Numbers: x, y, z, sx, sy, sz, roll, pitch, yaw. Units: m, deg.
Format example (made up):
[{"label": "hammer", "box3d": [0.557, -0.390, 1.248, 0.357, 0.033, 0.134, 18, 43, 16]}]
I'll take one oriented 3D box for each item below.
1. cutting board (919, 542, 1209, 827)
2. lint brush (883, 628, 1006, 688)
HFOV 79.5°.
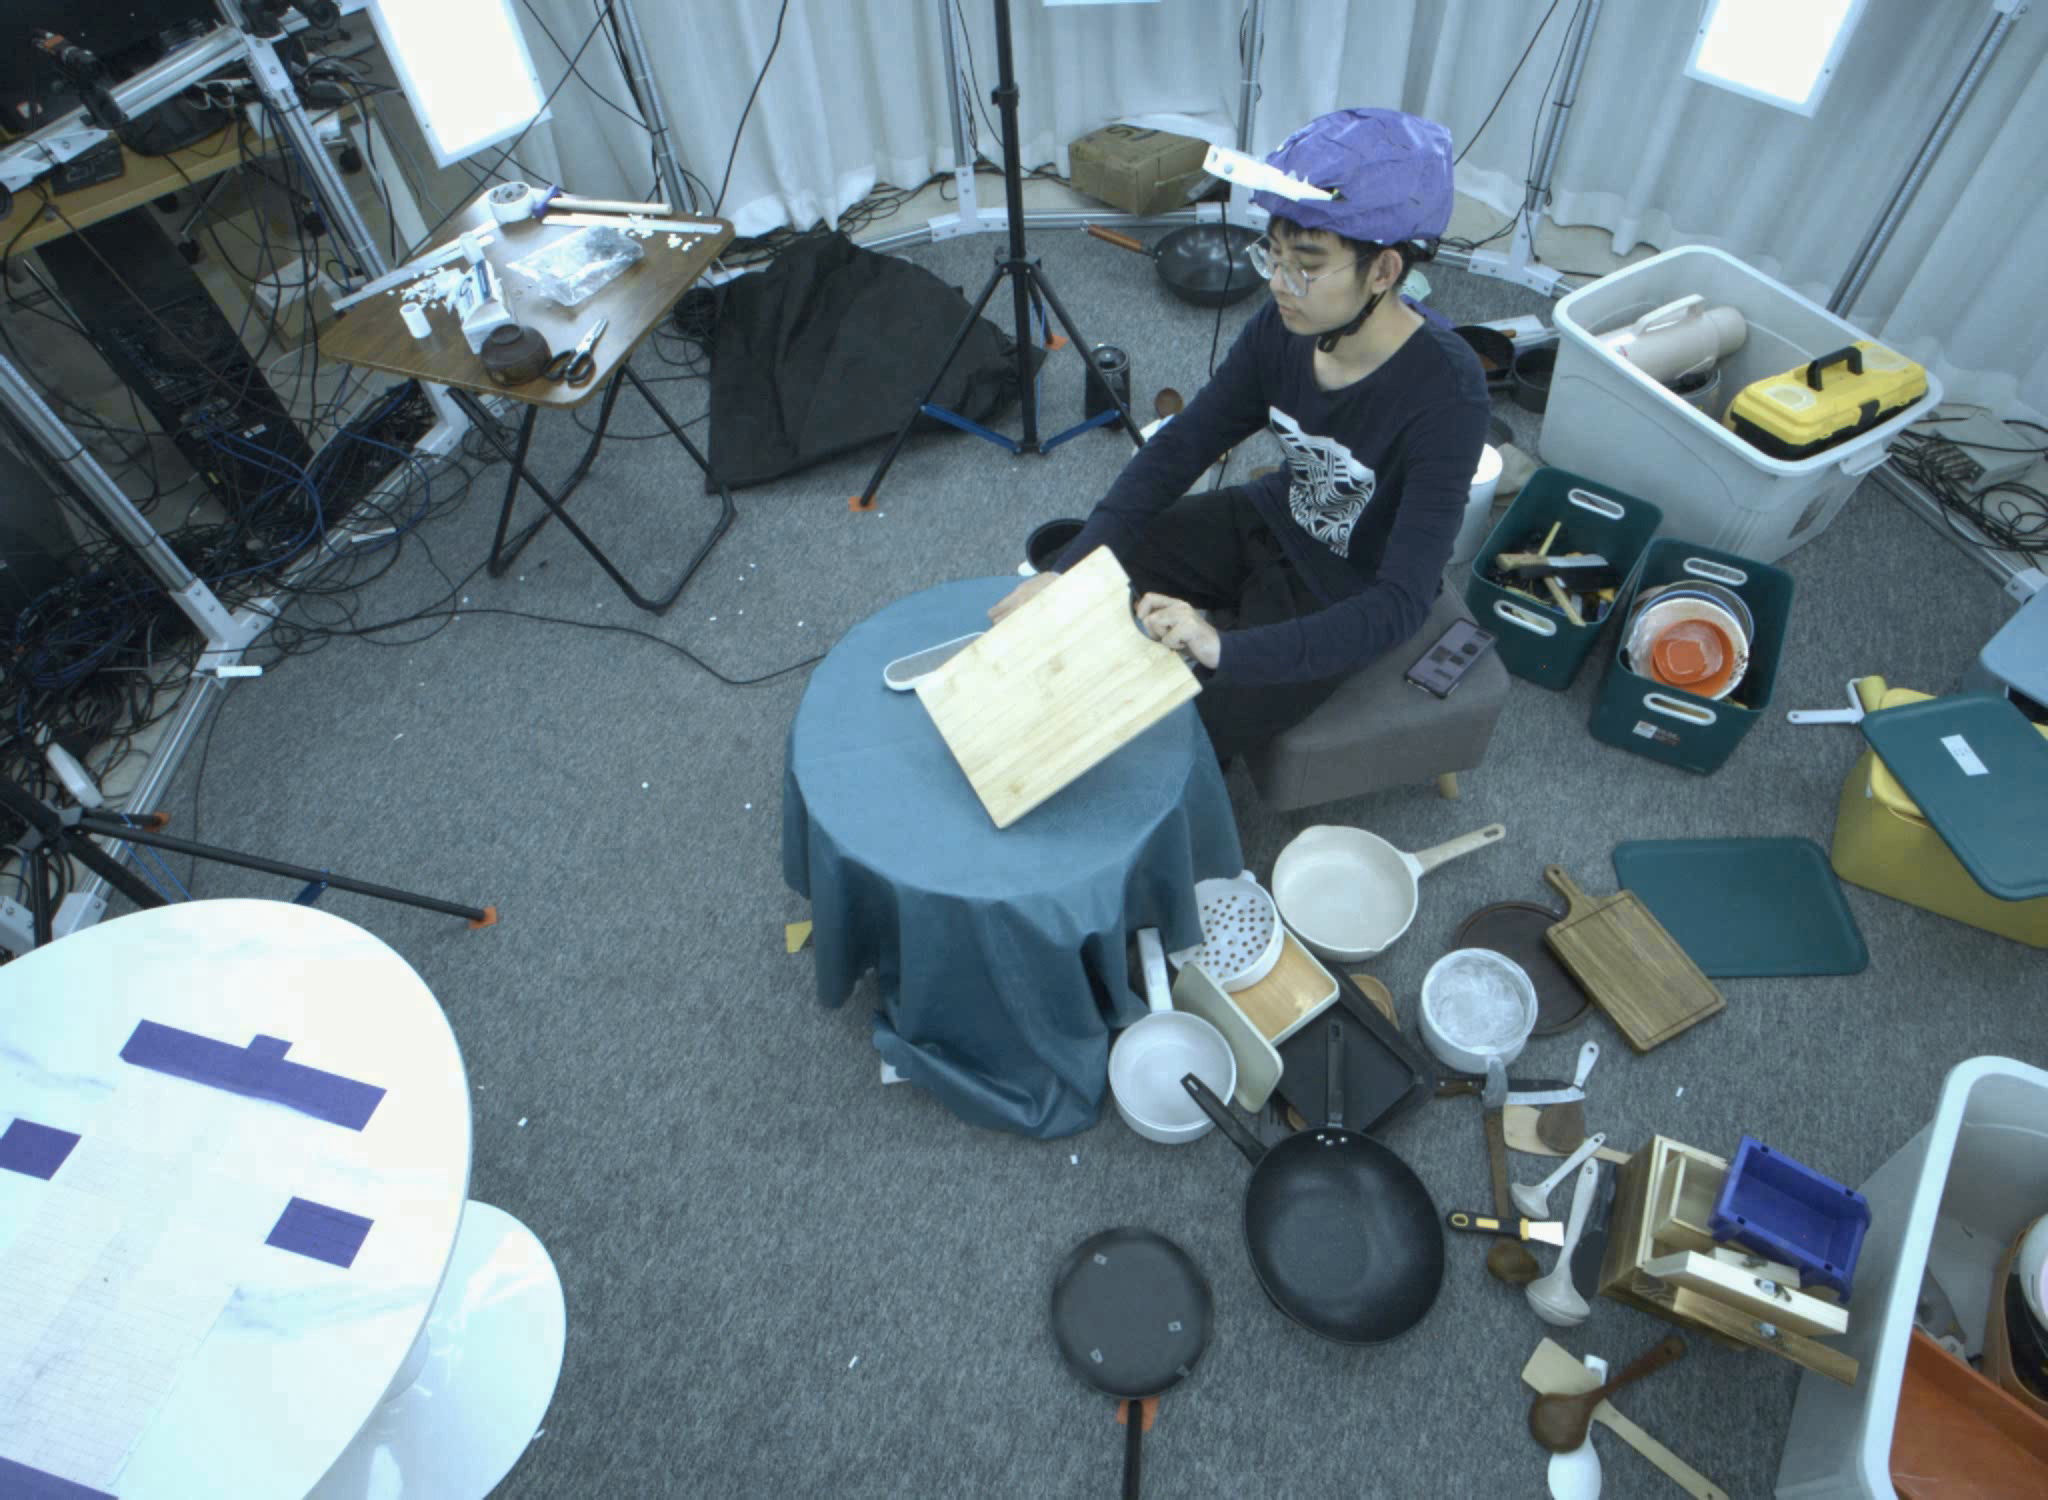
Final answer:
[{"label": "cutting board", "box3d": [0.045, -0.088, 1.690, 0.347, 0.024, 0.249, -36, 79, 15]}, {"label": "lint brush", "box3d": [-0.070, -0.159, 1.890, 0.311, 0.021, 0.059, -20, 46, -11]}]
